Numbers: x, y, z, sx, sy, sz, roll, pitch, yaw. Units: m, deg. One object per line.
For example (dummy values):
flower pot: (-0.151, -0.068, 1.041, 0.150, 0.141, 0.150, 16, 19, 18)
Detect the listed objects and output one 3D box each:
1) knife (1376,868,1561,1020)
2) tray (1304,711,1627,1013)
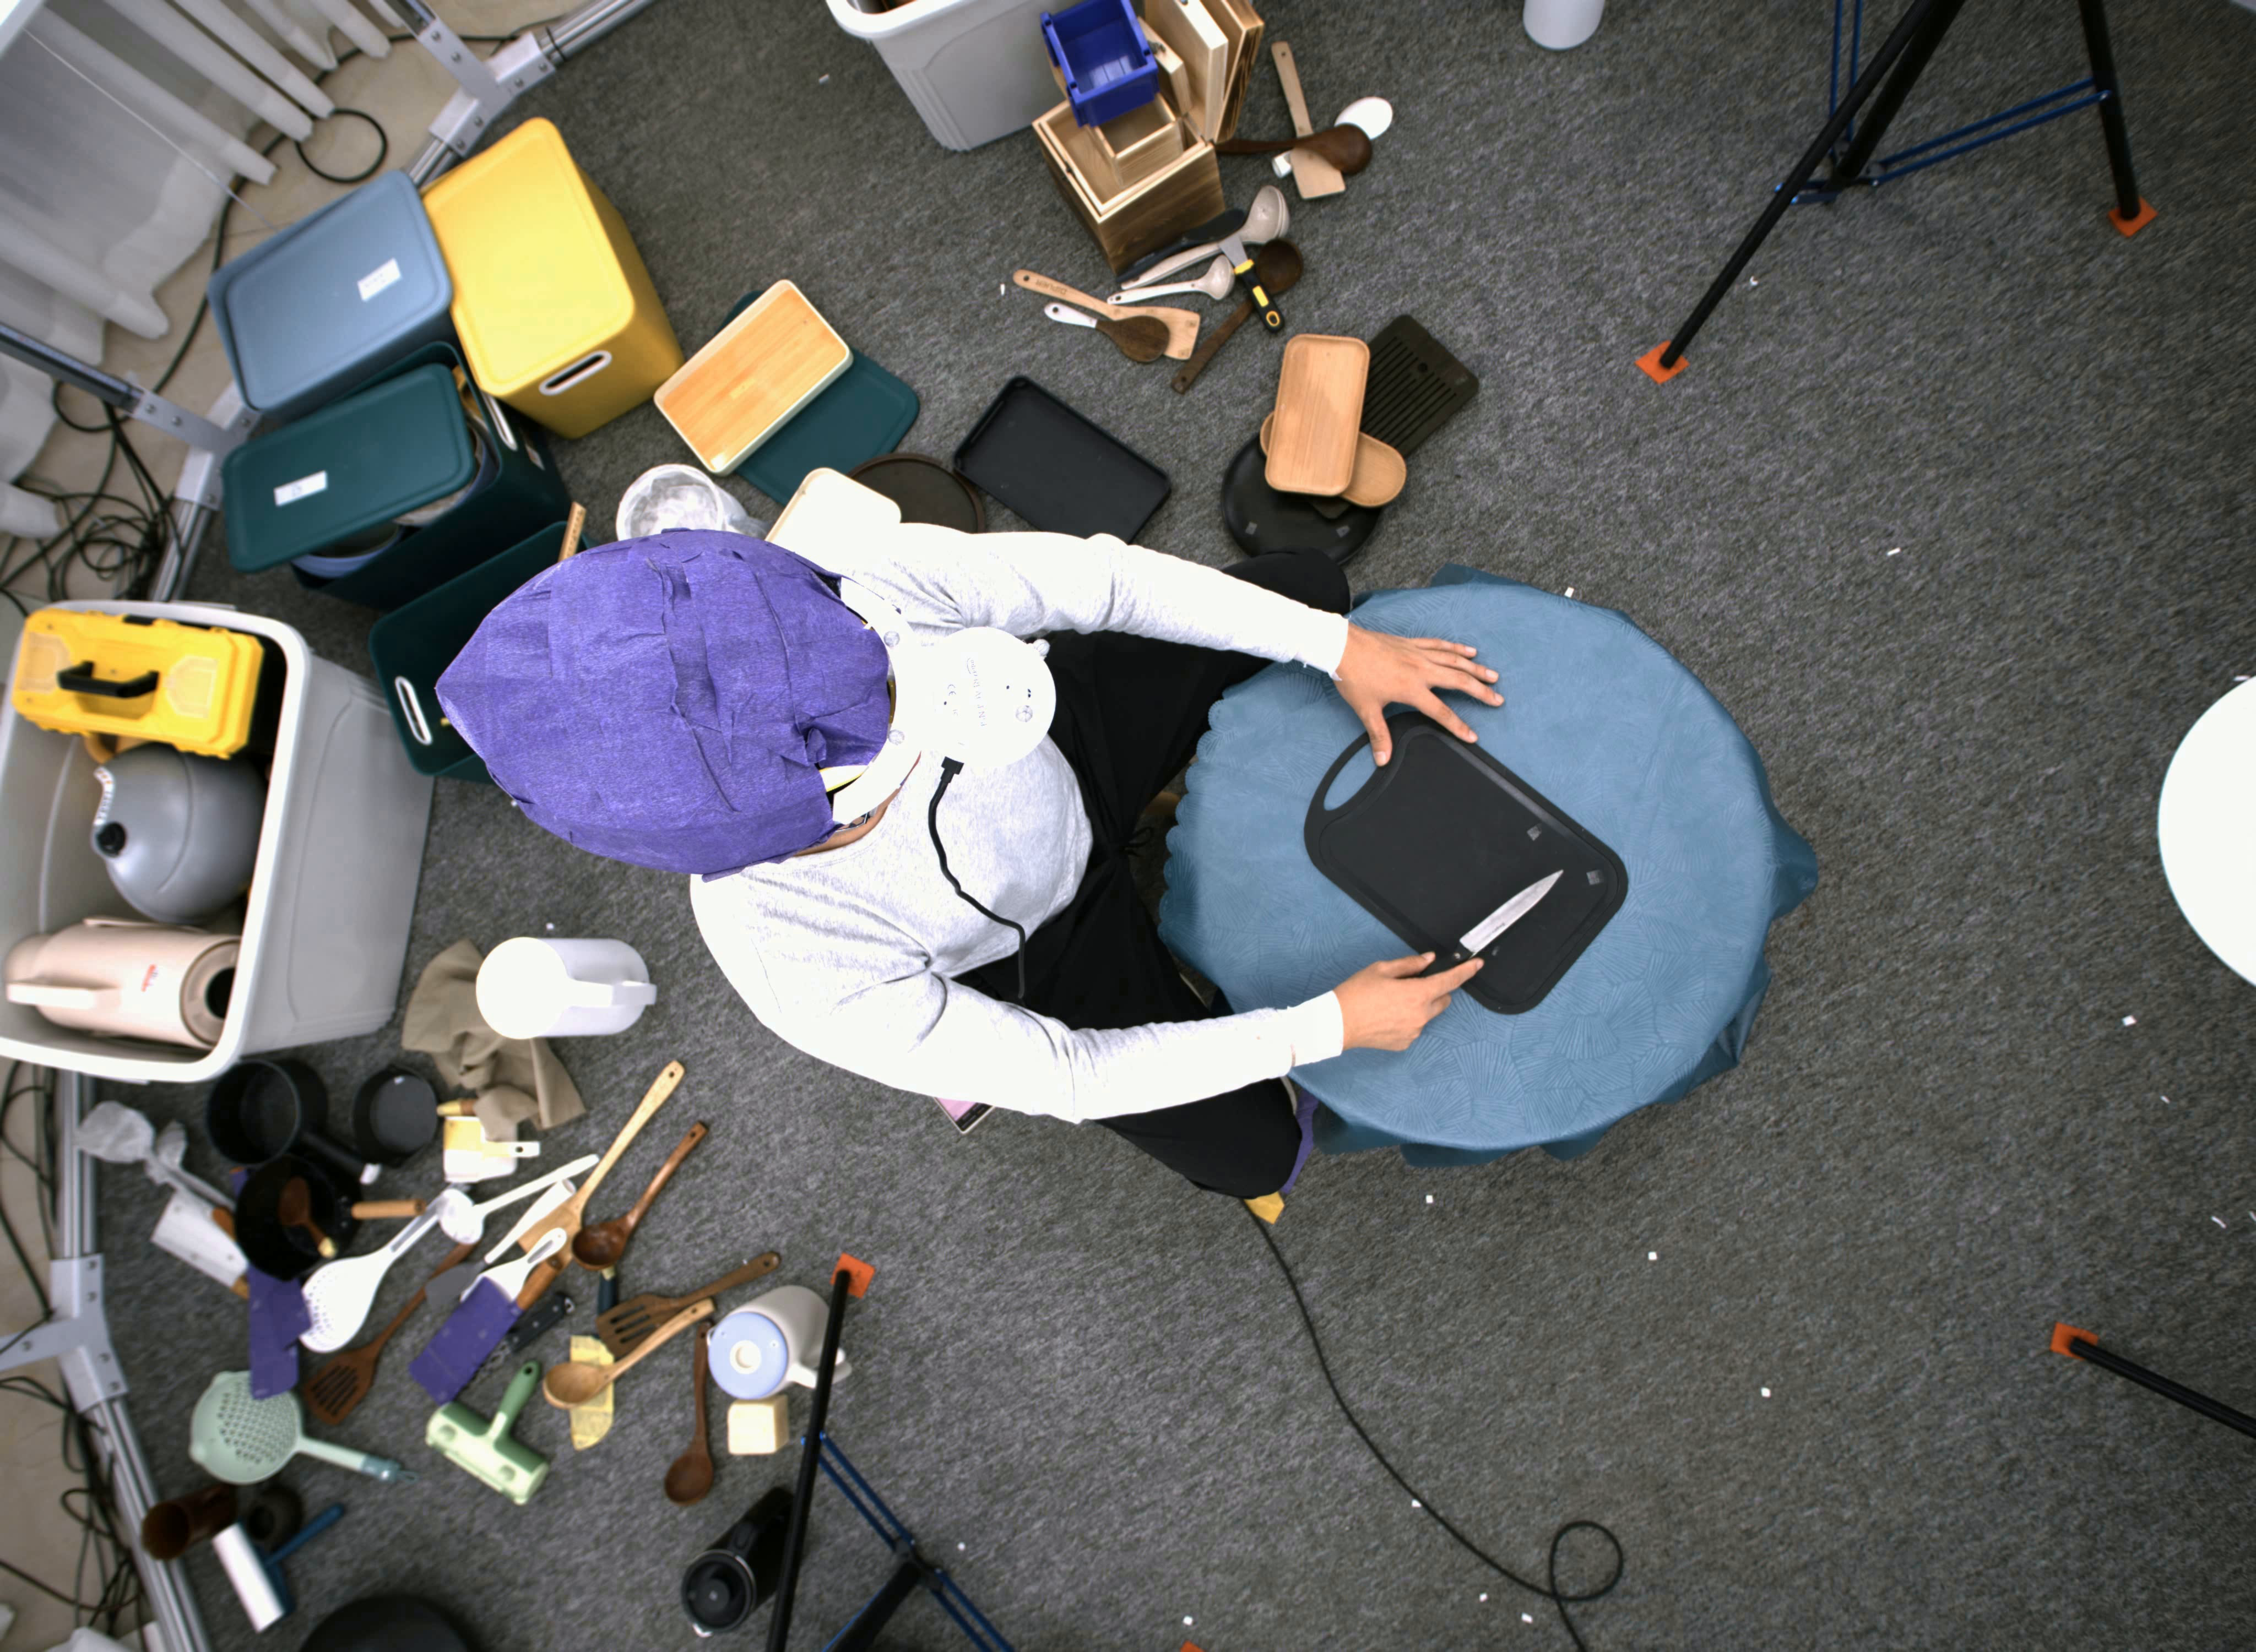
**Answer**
knife: (0.349, 0.118, 1.396, 0.239, 0.016, 0.024, -39, 65, 3)
tray: (0.344, 0.029, 1.446, 0.324, 0.010, 0.212, 40, 94, 10)
